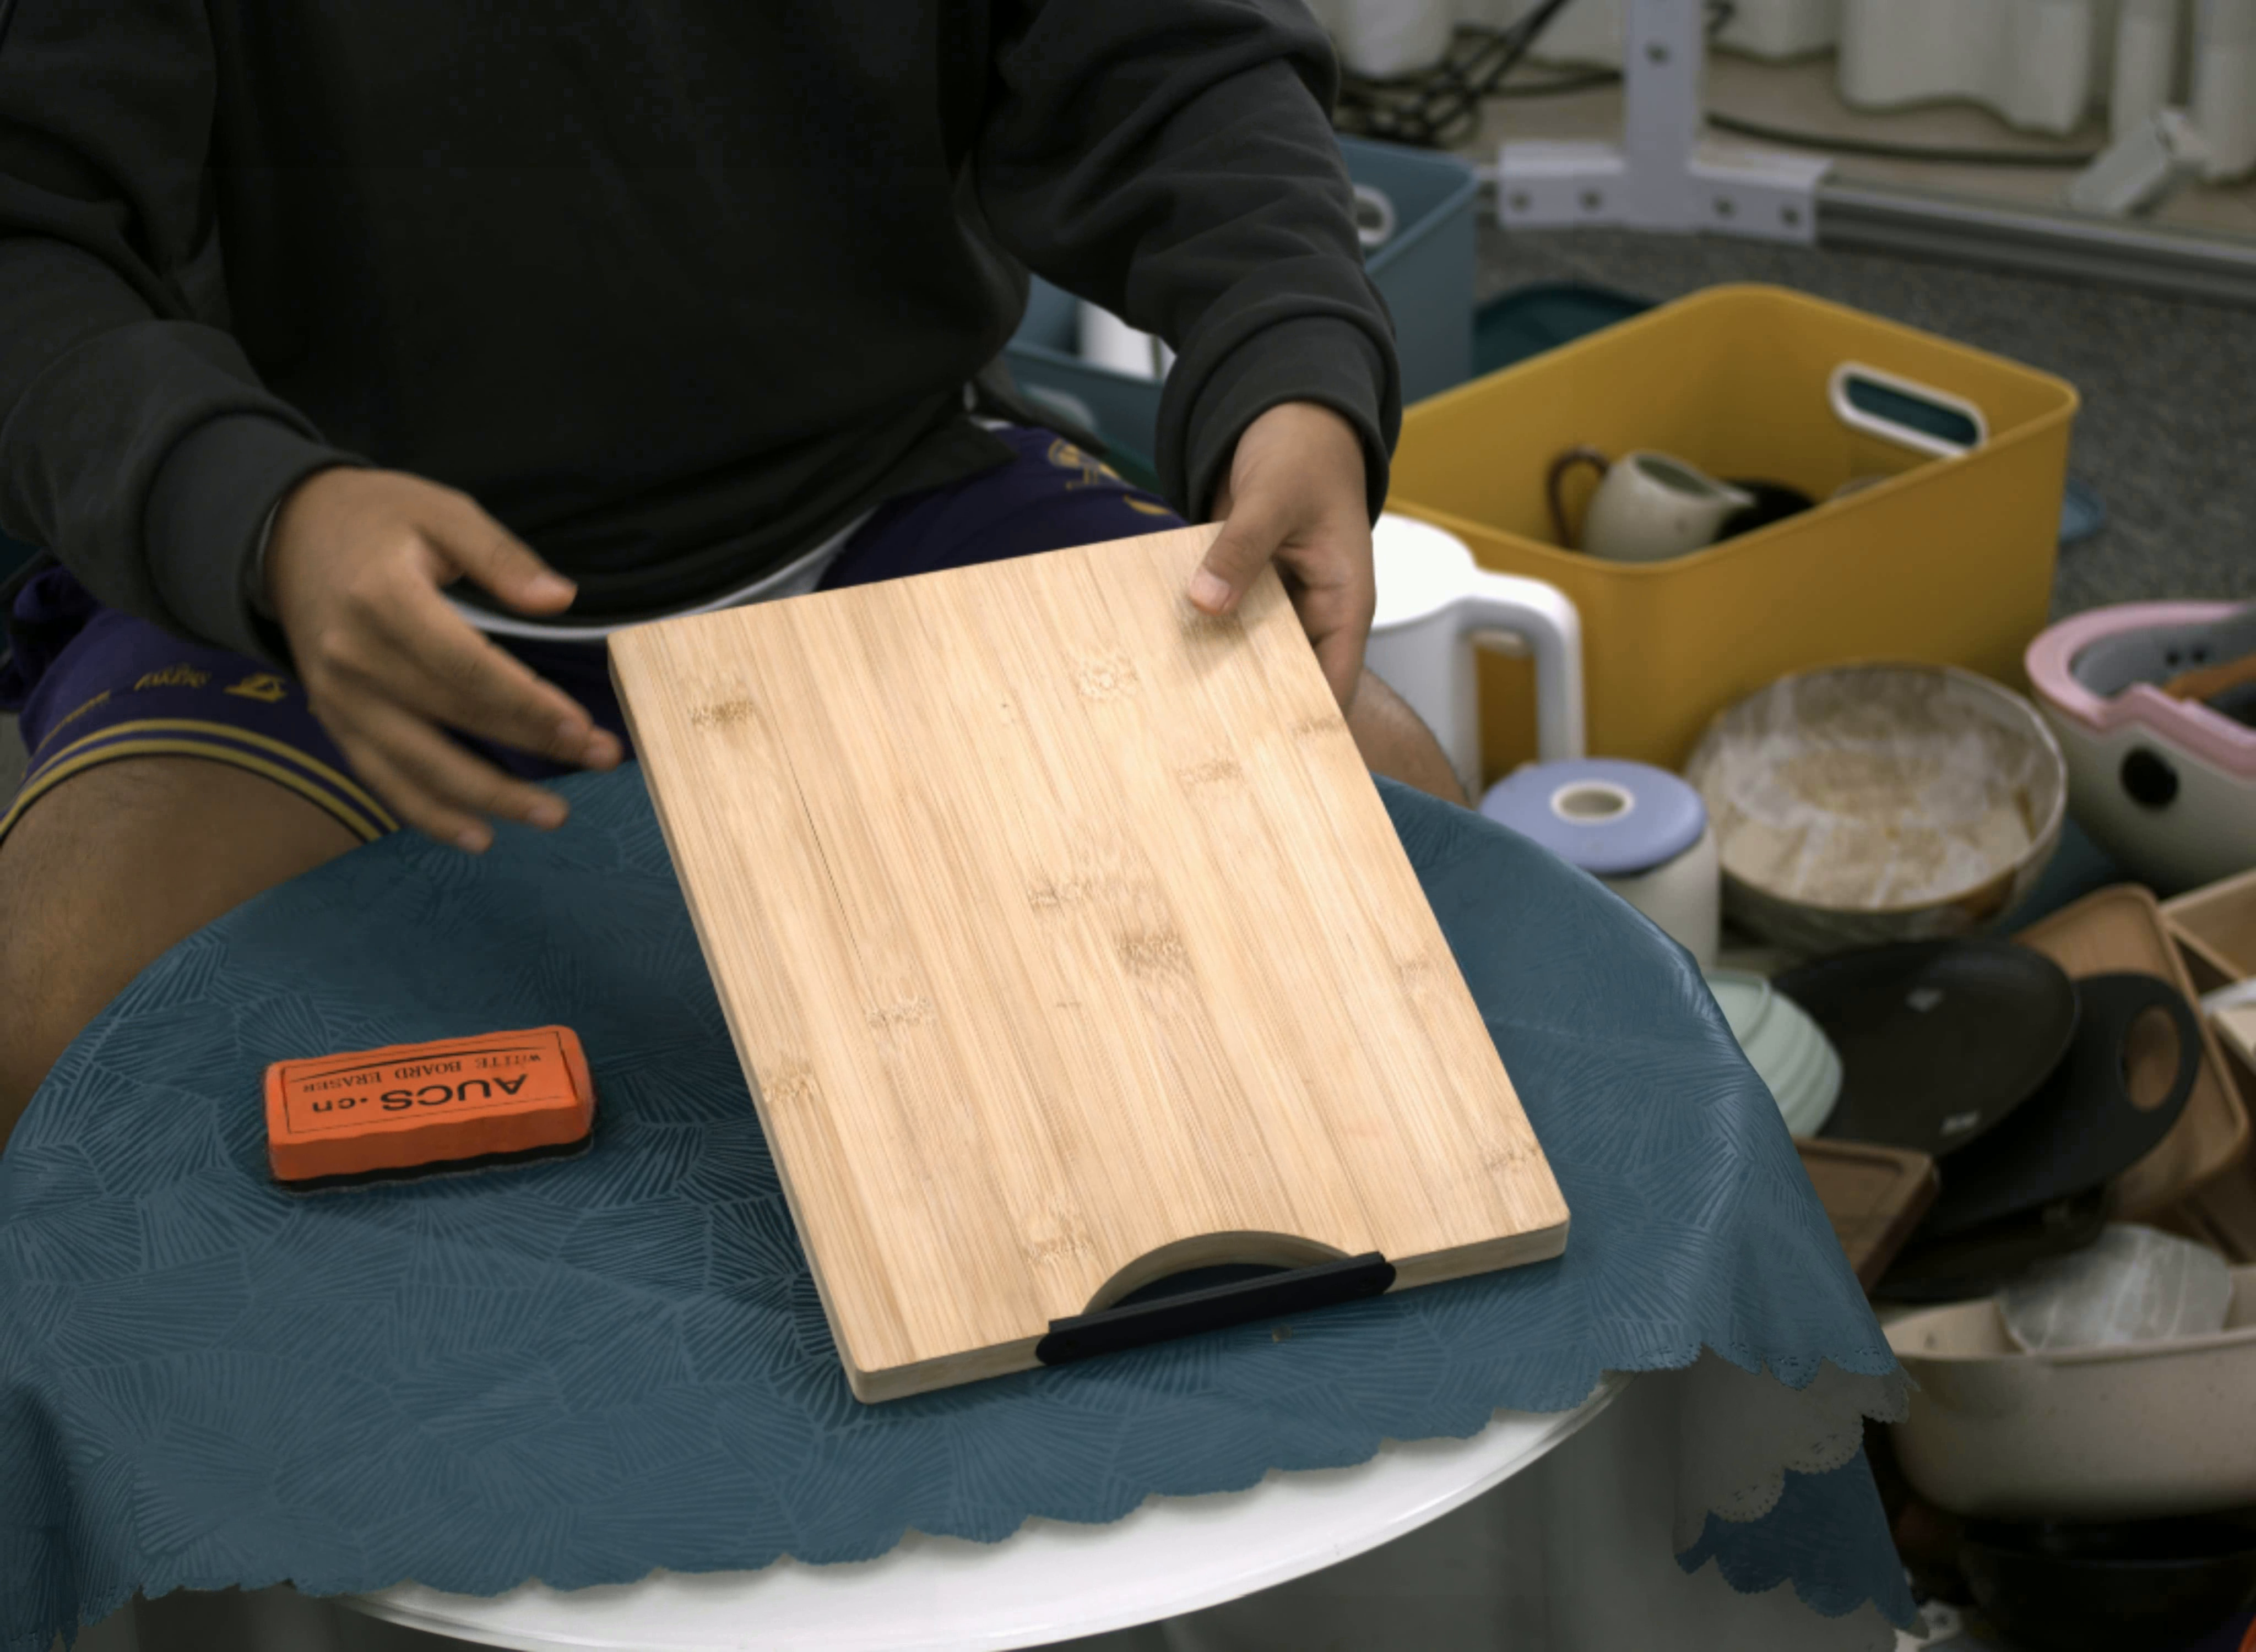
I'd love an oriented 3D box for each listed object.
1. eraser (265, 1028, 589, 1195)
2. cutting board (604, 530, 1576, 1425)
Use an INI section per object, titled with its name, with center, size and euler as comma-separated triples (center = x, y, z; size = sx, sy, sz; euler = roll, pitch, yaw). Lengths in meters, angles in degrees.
[eraser]
center = -0.238, 0.097, 1.906
size = 0.108, 0.022, 0.060
euler = -6, 28, -8
[cutting board]
center = -0.020, 0.039, 1.888
size = 0.251, 0.023, 0.354
euler = -11, 48, -15
